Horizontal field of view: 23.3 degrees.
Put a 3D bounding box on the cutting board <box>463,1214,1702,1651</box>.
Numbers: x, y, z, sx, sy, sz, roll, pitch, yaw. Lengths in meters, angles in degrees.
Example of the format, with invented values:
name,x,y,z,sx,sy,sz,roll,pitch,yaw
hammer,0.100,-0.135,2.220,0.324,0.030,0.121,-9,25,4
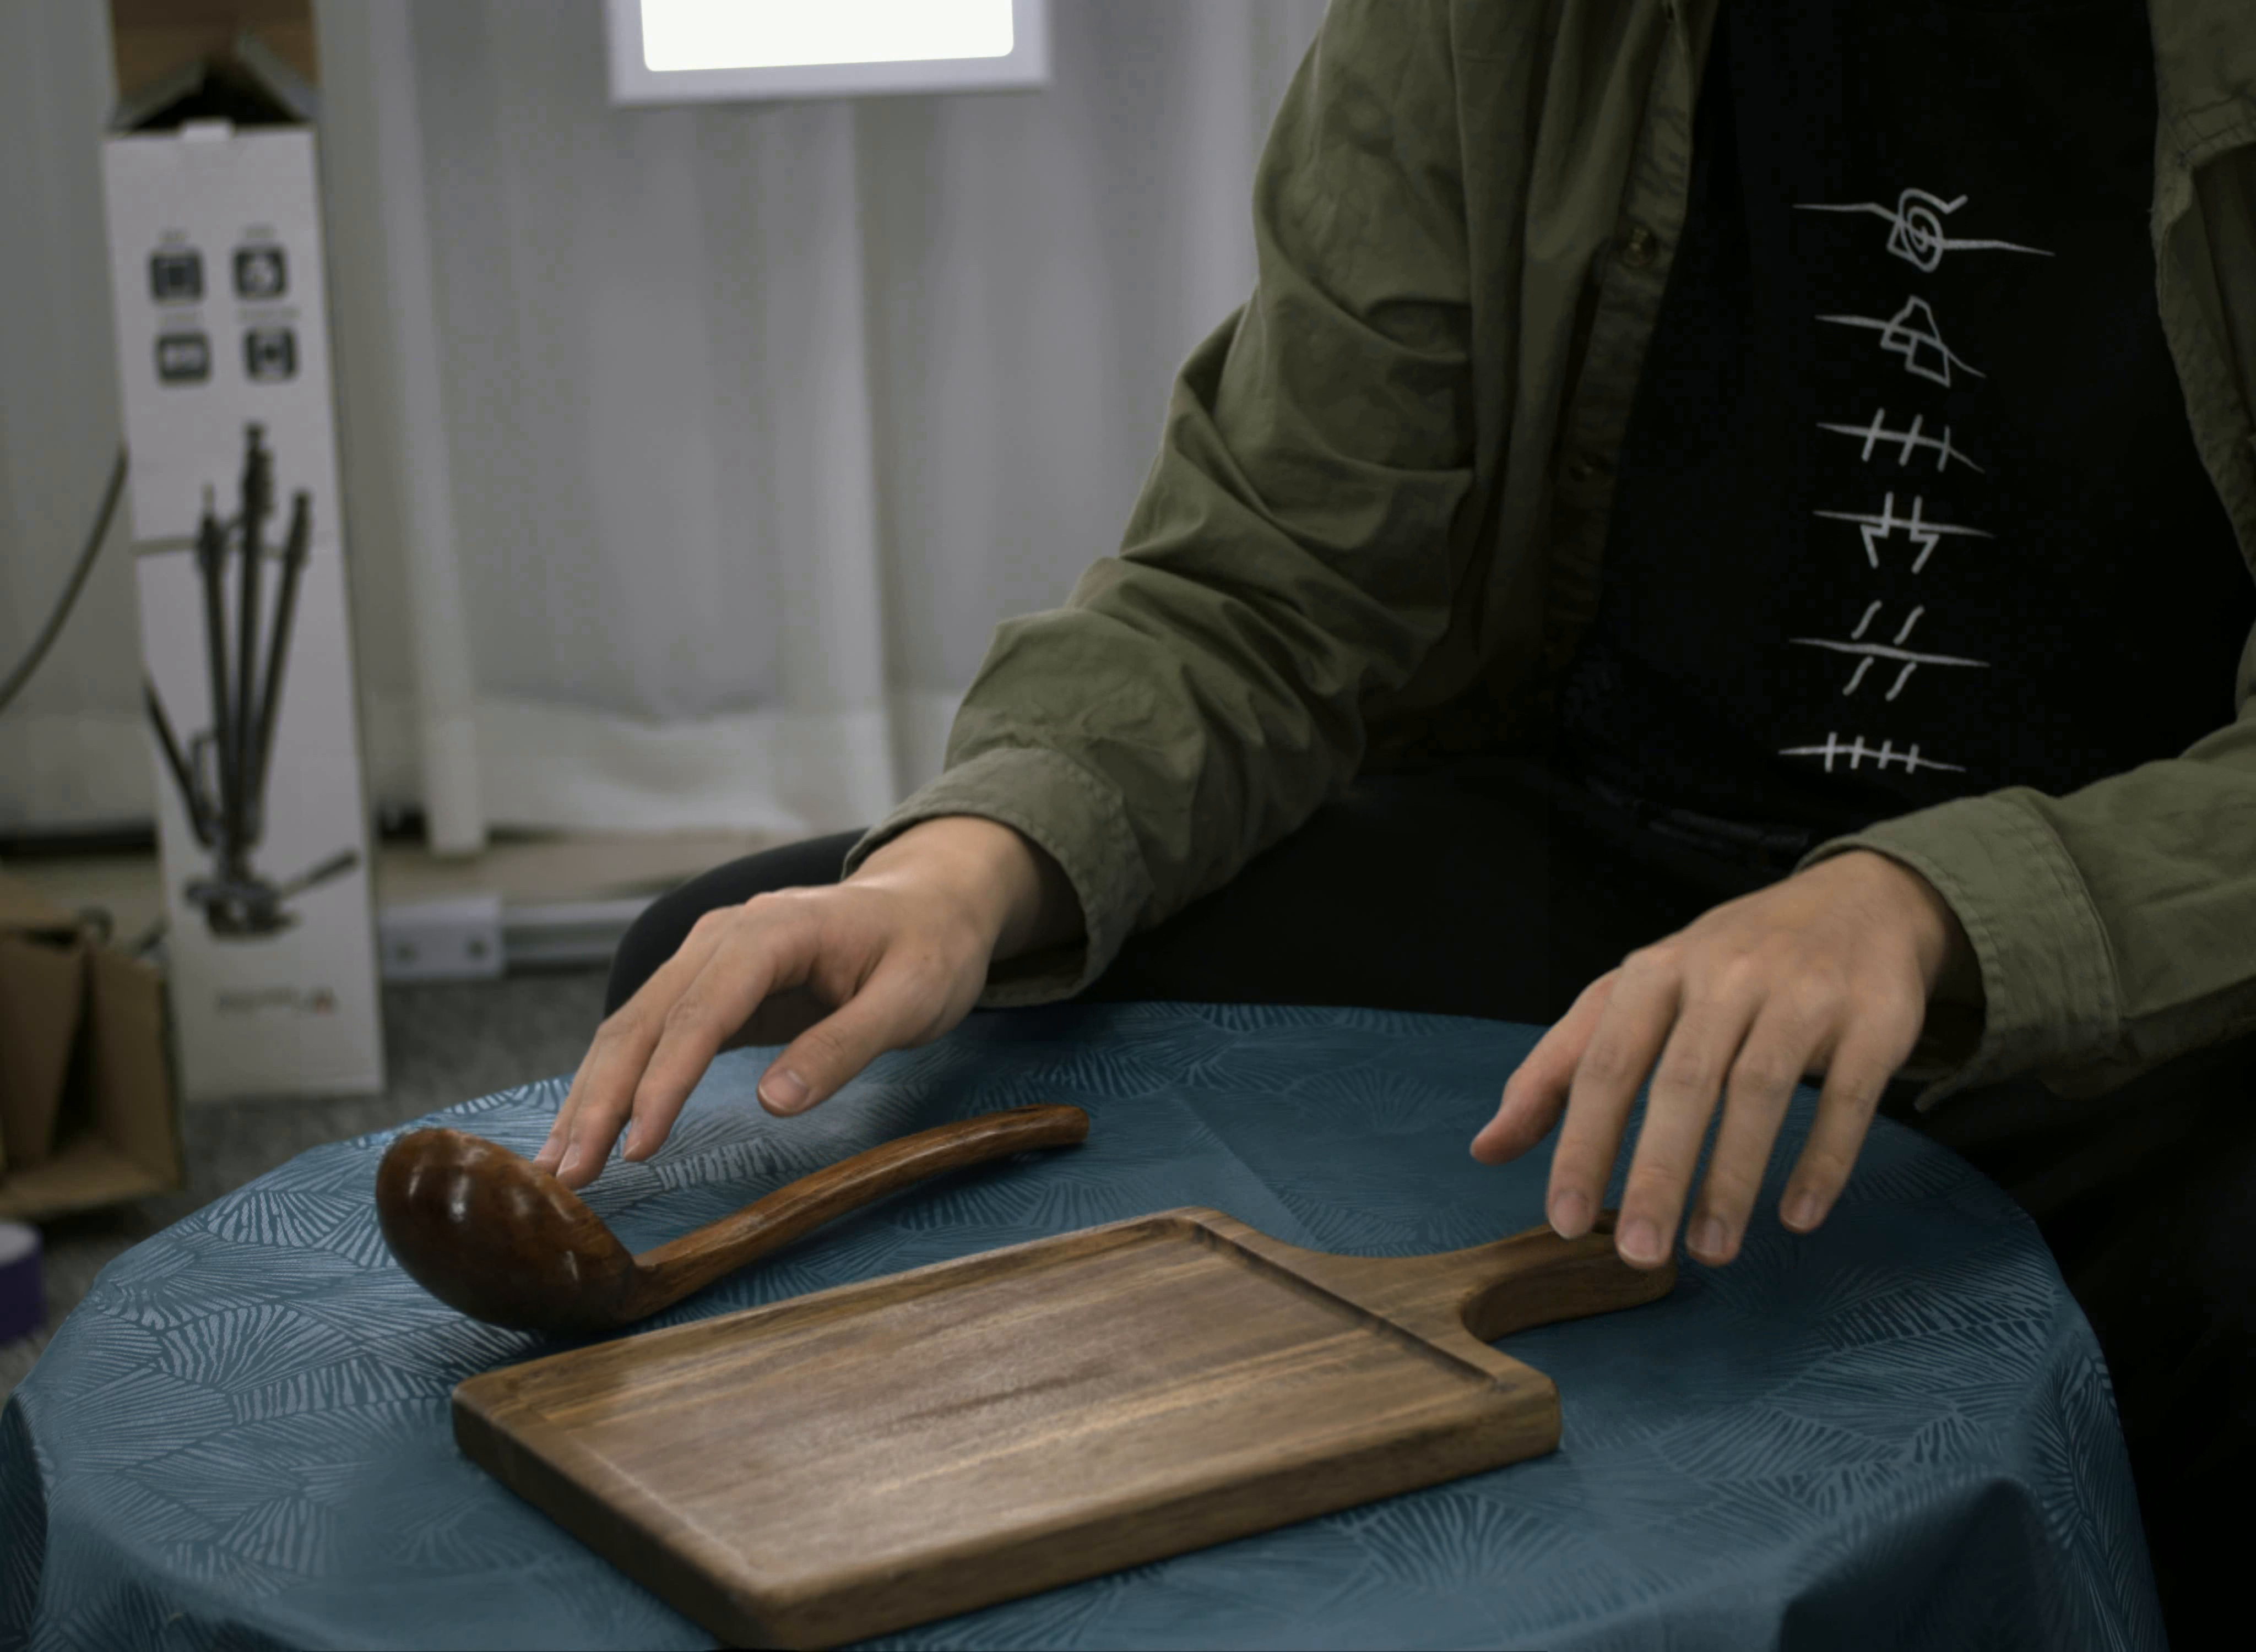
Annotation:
name,x,y,z,sx,sy,sz,roll,pitch,yaw
cutting board,0.012,0.156,1.516,0.351,0.023,0.202,-11,17,-27

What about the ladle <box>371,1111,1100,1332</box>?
name,x,y,z,sx,sy,sz,roll,pitch,yaw
ladle,-0.113,0.095,1.668,0.082,0.076,0.273,3,15,43
